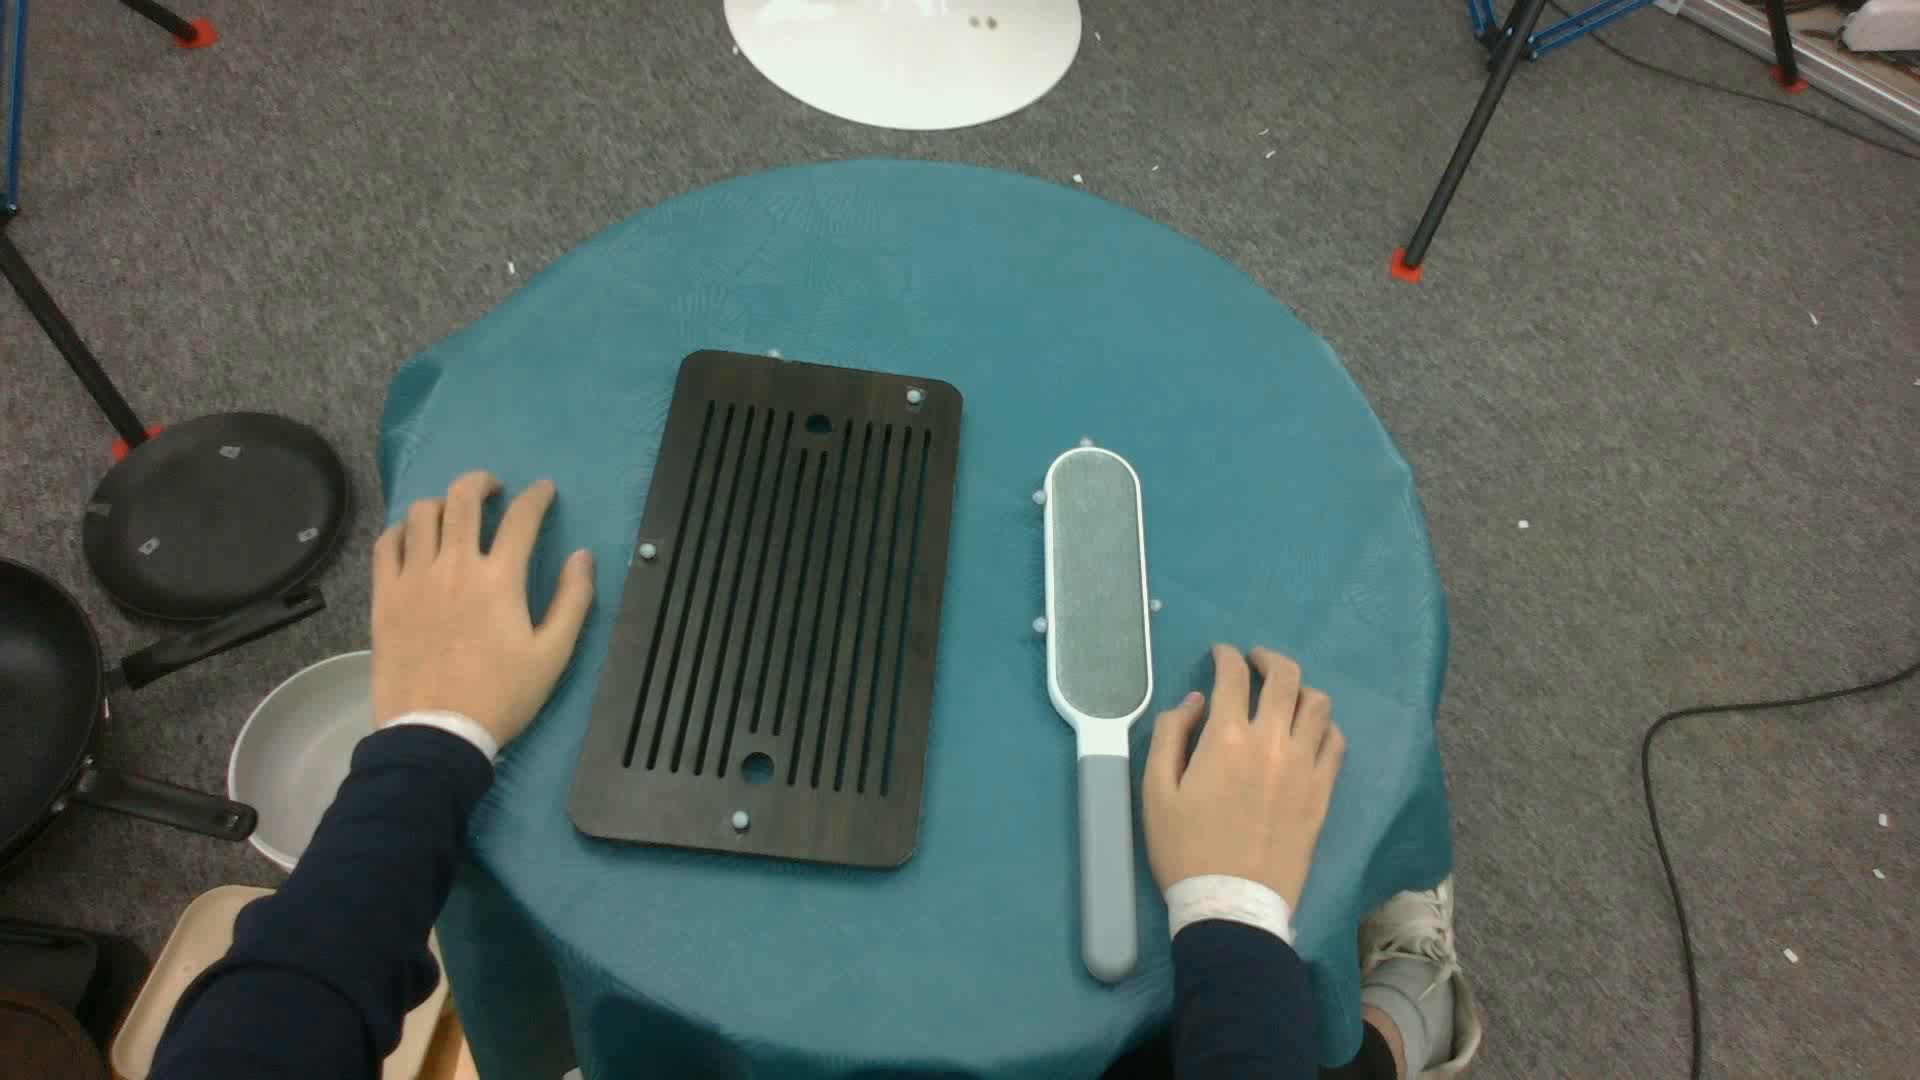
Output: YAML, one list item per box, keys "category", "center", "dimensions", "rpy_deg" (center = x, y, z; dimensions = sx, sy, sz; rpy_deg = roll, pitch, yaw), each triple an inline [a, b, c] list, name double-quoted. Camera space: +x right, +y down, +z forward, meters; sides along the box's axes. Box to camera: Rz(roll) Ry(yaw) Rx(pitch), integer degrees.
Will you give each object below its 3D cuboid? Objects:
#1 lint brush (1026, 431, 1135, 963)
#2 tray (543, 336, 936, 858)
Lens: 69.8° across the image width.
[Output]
- category: "lint brush"
  center: [0.064, 0.068, 0.733]
  dimensions: [0.060, 0.021, 0.310]
  rpy_deg: [7, 57, -10]
- category: "tray"
  center: [-0.108, 0.019, 0.746]
  dimensions: [0.170, 0.018, 0.307]
  rpy_deg: [7, 57, -4]
